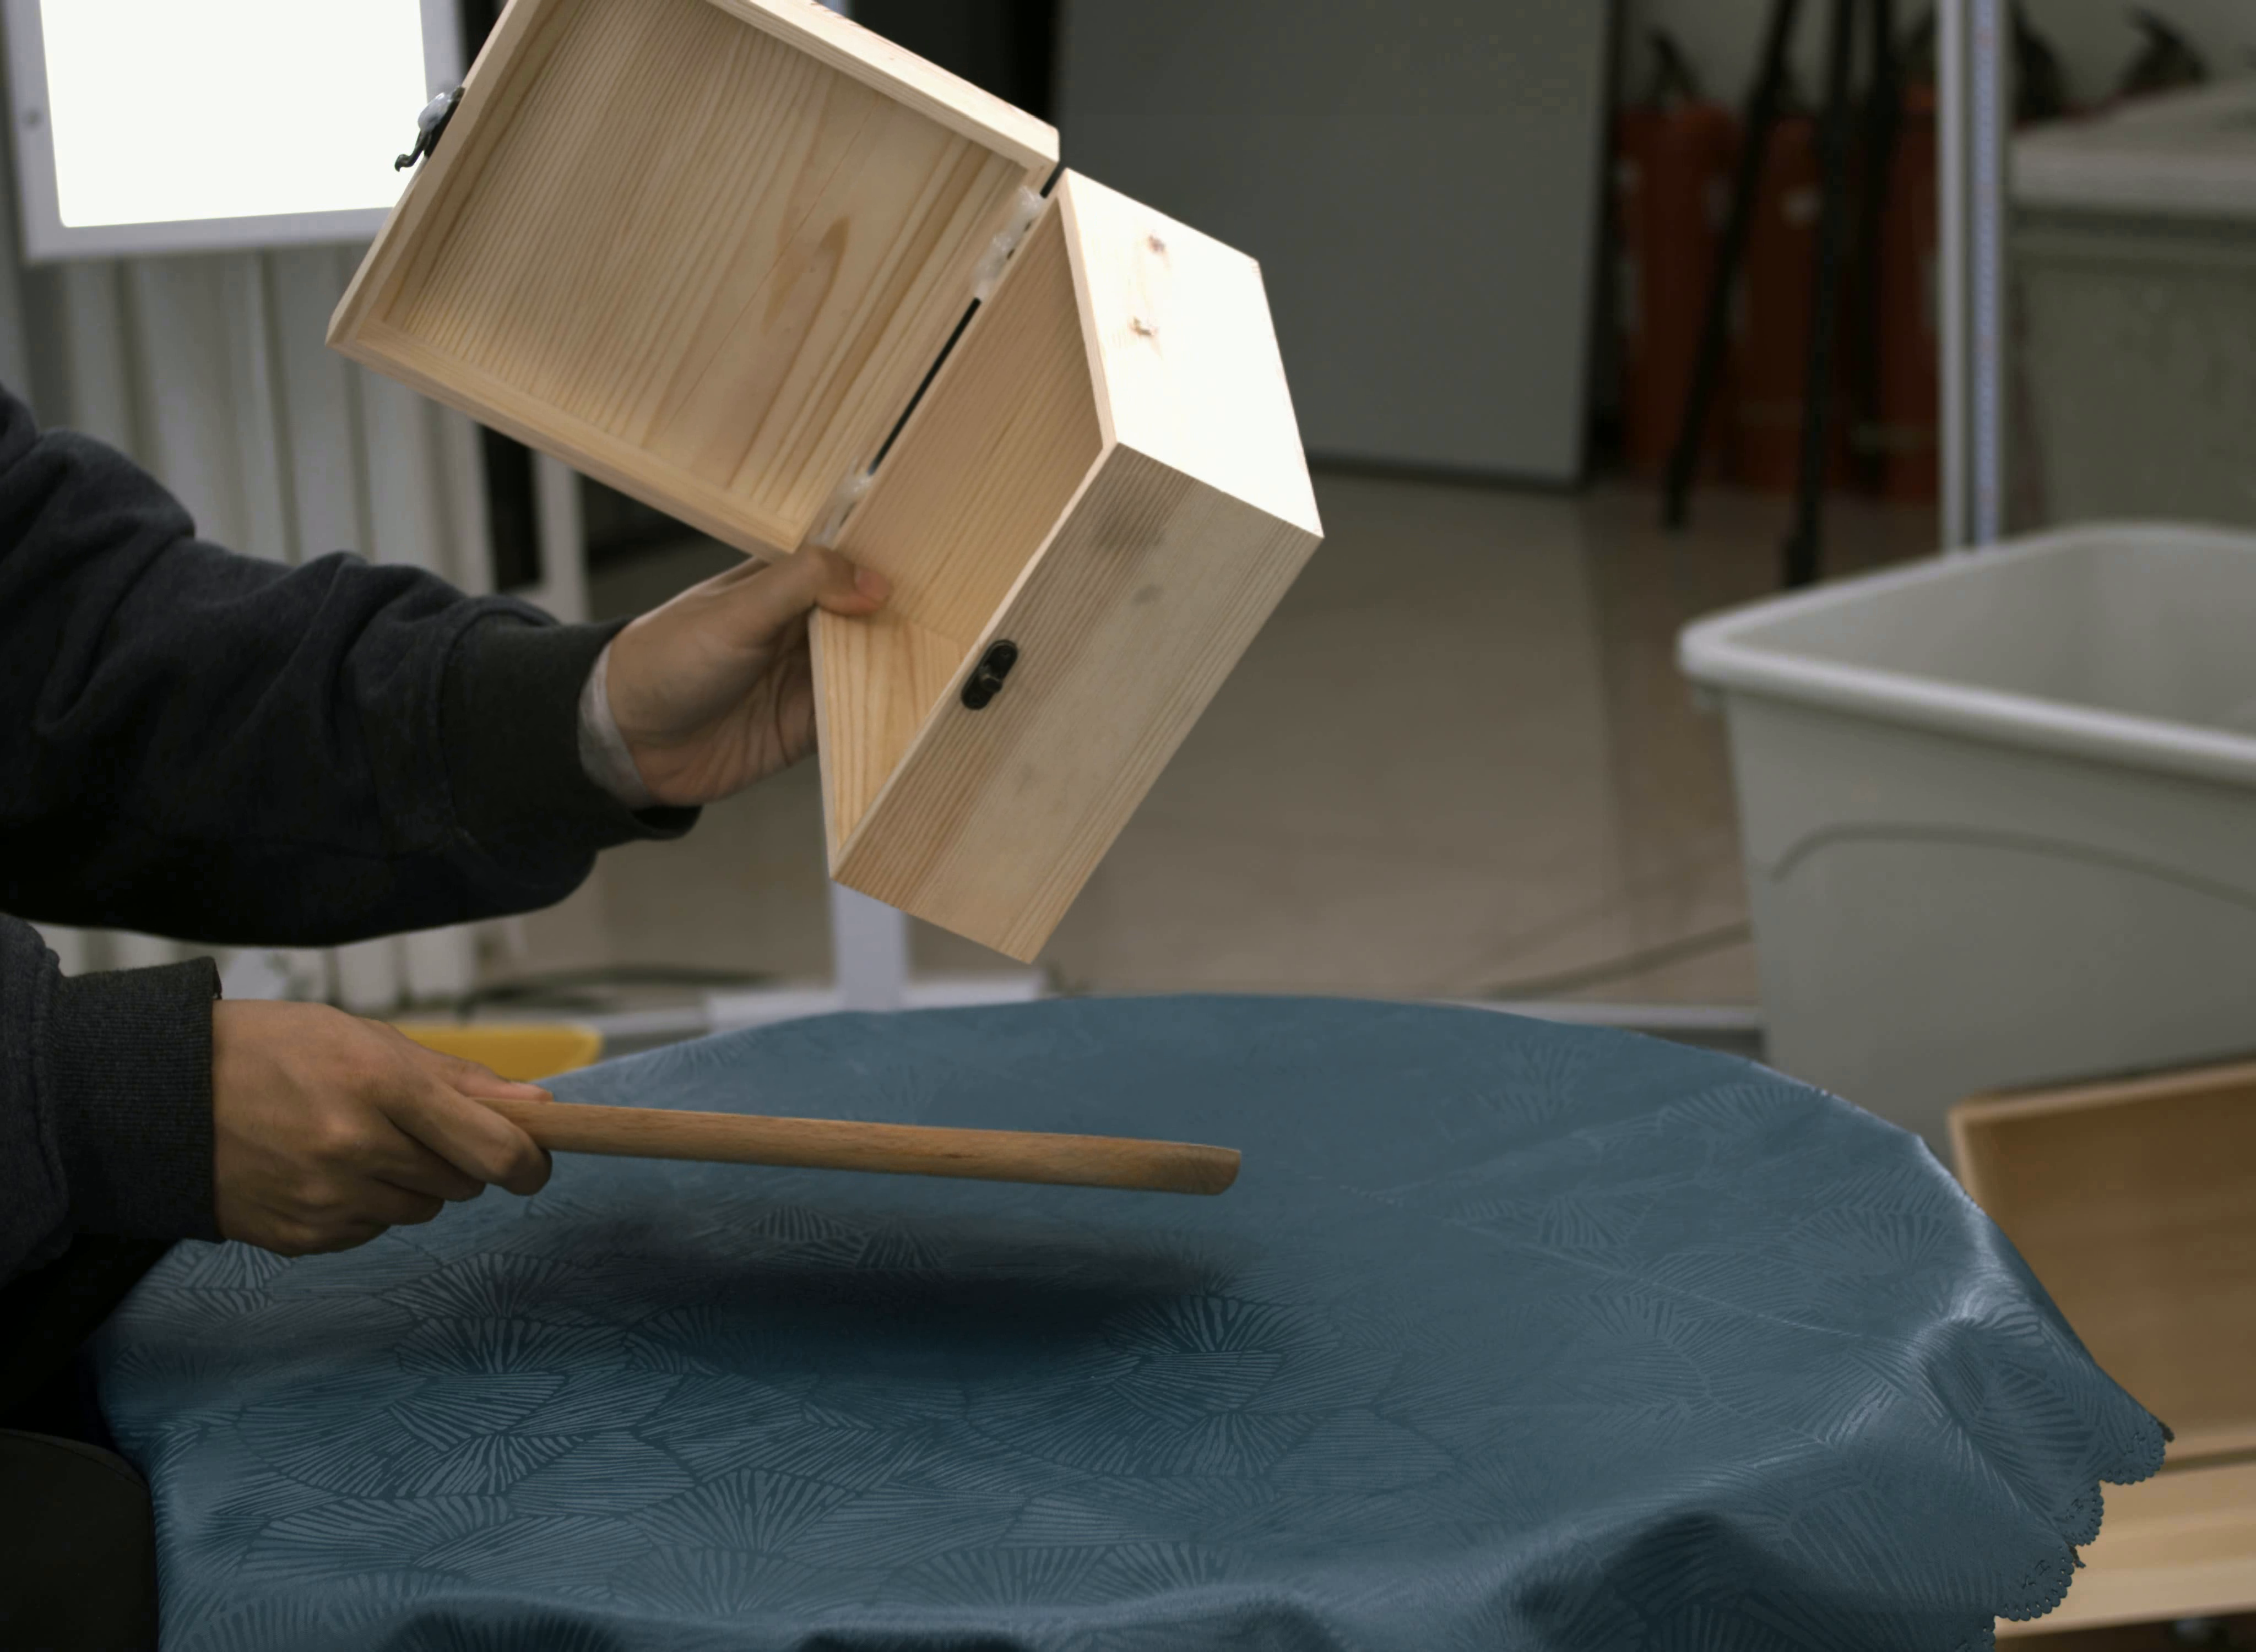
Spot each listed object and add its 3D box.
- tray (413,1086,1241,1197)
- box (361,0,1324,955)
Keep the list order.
[{"bbox_3d":[-0.094,0.099,1.685,0.251,0.023,0.129,2,-9,23],"label":"tray"},{"bbox_3d":[-0.101,-0.139,1.738,0.249,0.183,0.267,22,27,-17],"label":"box"}]
